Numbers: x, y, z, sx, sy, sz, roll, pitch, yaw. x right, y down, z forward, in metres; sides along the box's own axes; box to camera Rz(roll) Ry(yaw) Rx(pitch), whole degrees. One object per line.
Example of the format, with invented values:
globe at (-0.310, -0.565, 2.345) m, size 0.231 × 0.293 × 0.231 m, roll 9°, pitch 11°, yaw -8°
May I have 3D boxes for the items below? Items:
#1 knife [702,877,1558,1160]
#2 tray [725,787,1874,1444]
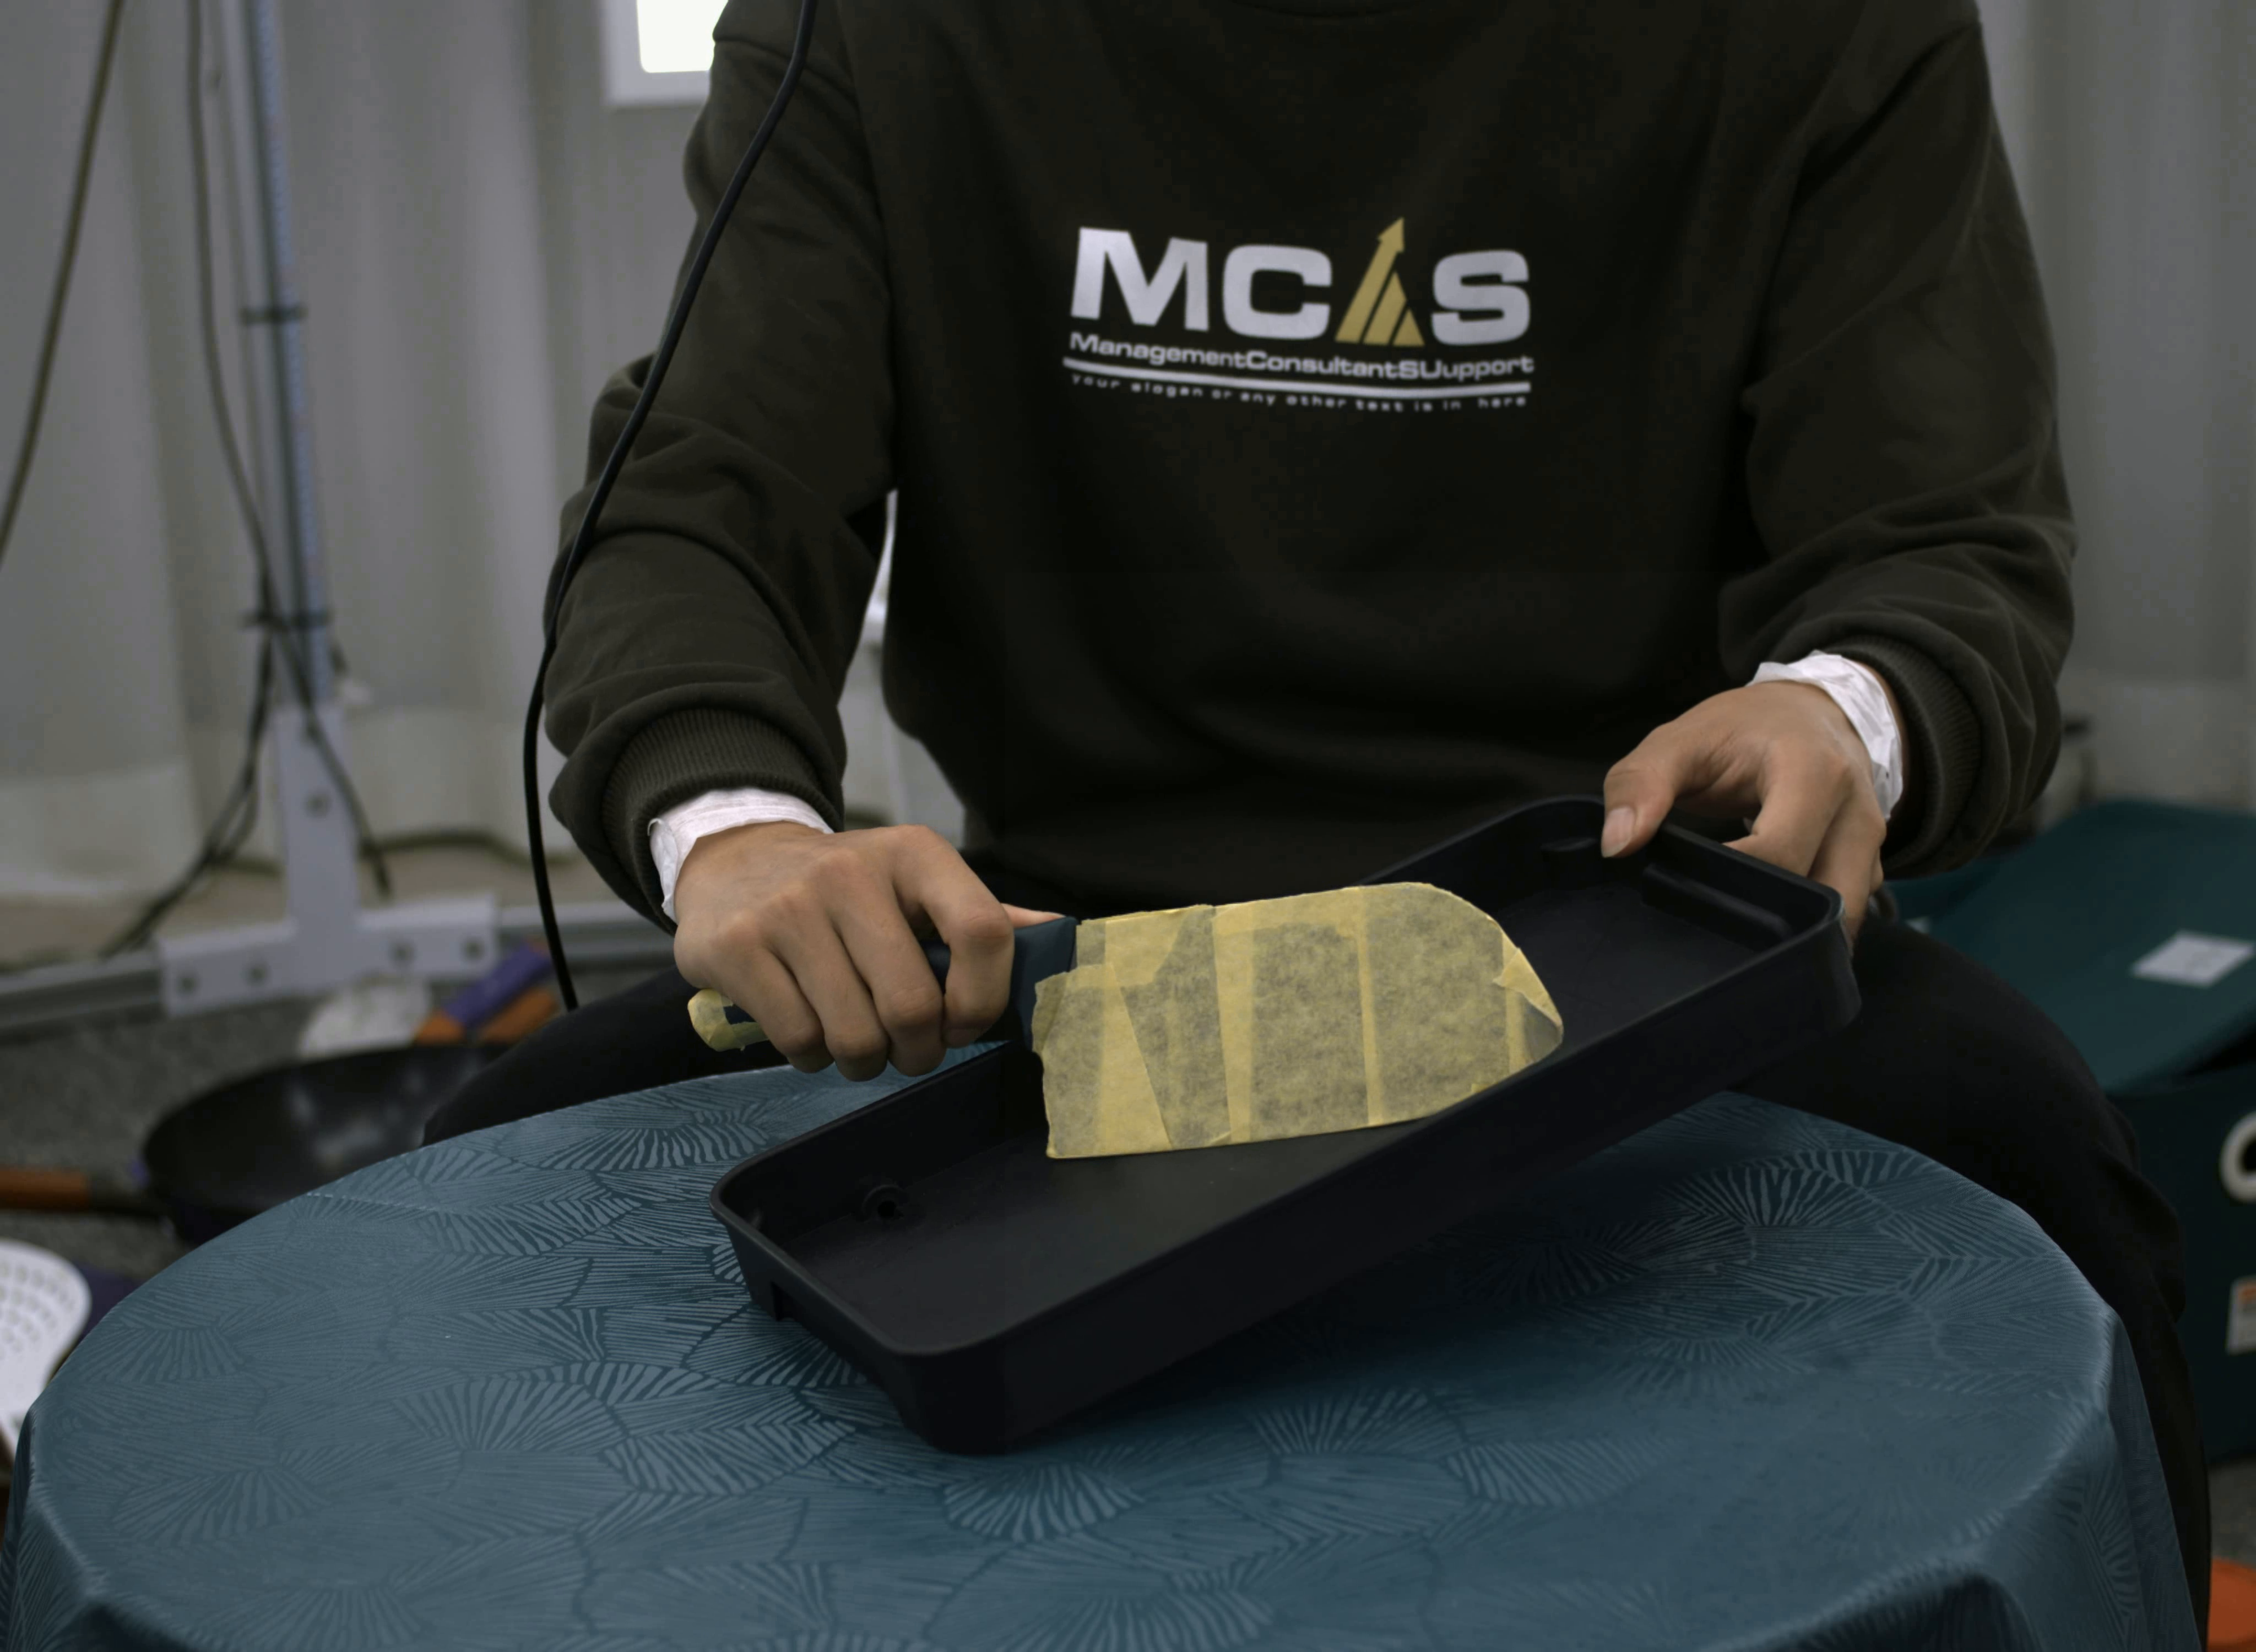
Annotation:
knife at (-0.003, 0.062, 1.655) m, size 0.289 × 0.082 × 0.027 m, roll -5°, pitch -13°, yaw 27°
tray at (0.051, 0.079, 1.618) m, size 0.318 × 0.037 × 0.185 m, roll -25°, pitch 20°, yaw -20°
